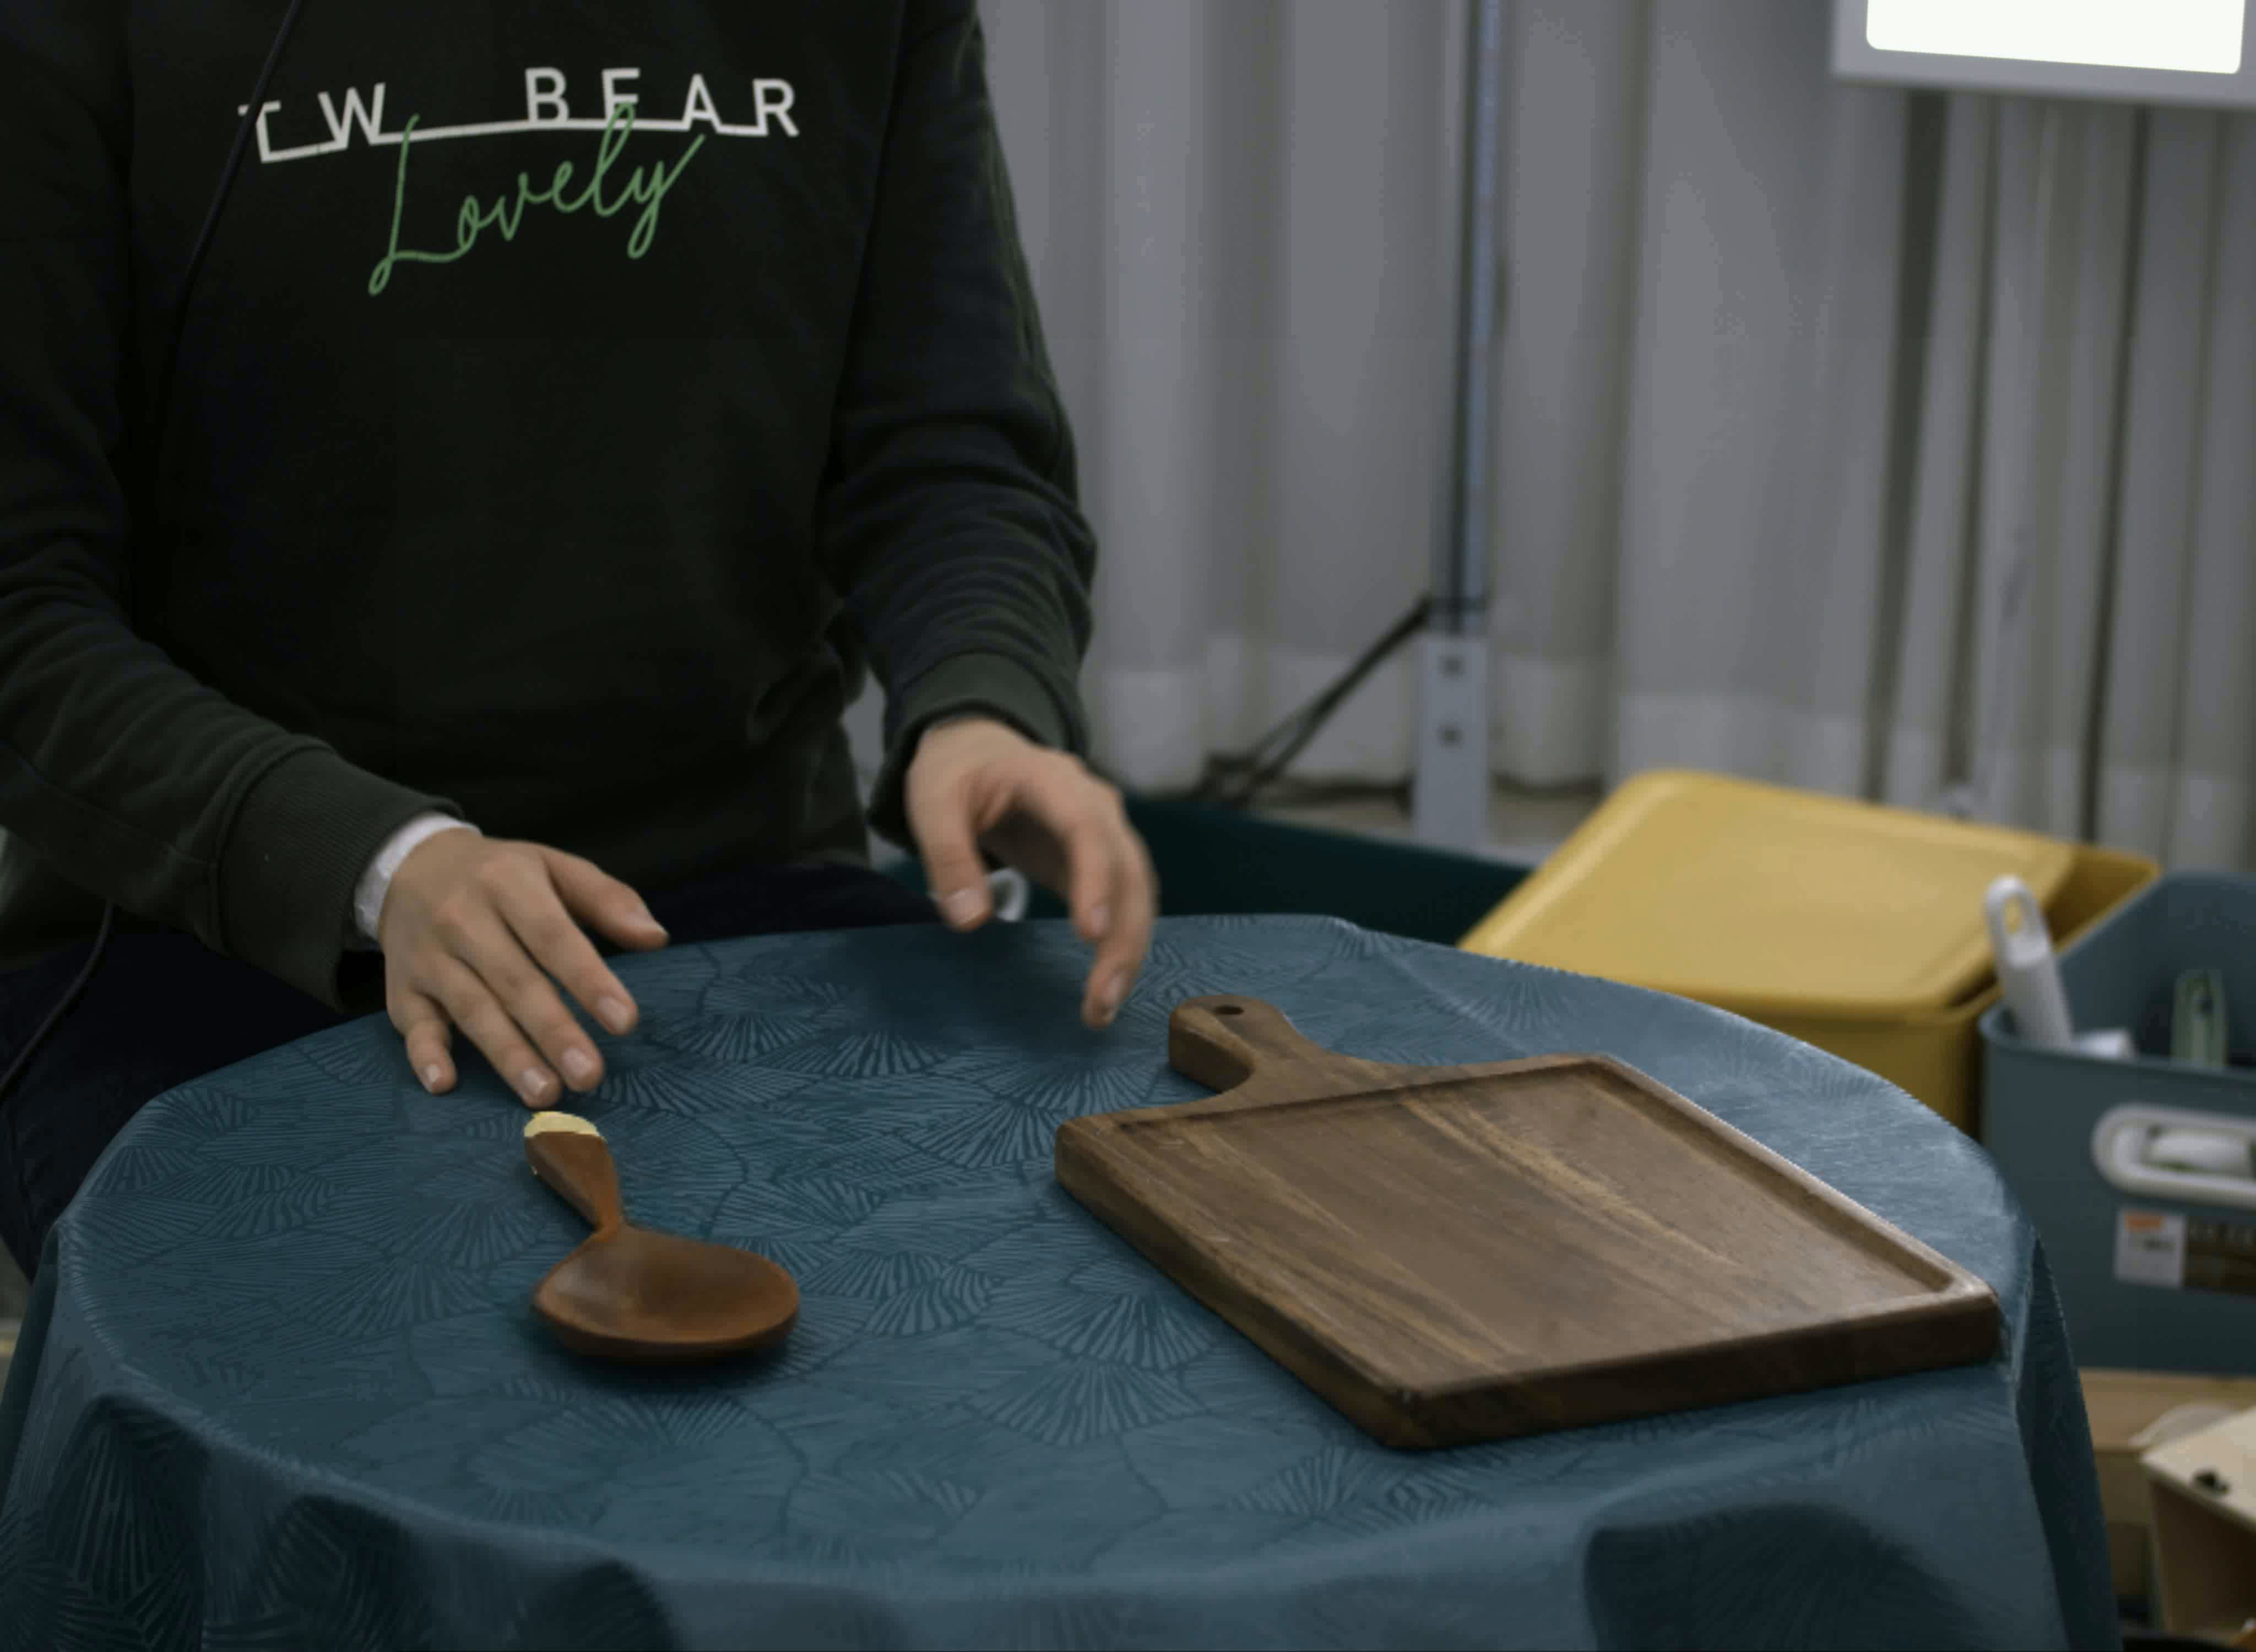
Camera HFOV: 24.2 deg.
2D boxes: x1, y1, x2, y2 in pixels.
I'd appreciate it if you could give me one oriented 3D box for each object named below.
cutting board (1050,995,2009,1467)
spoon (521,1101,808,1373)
[{"bbox_3d":[0.094,0.110,1.607,0.202,0.023,0.348,-7,17,-23],"label":"cutting board"},{"bbox_3d":[-0.148,0.122,1.555,0.075,0.017,0.213,-6,18,-16],"label":"spoon"}]
